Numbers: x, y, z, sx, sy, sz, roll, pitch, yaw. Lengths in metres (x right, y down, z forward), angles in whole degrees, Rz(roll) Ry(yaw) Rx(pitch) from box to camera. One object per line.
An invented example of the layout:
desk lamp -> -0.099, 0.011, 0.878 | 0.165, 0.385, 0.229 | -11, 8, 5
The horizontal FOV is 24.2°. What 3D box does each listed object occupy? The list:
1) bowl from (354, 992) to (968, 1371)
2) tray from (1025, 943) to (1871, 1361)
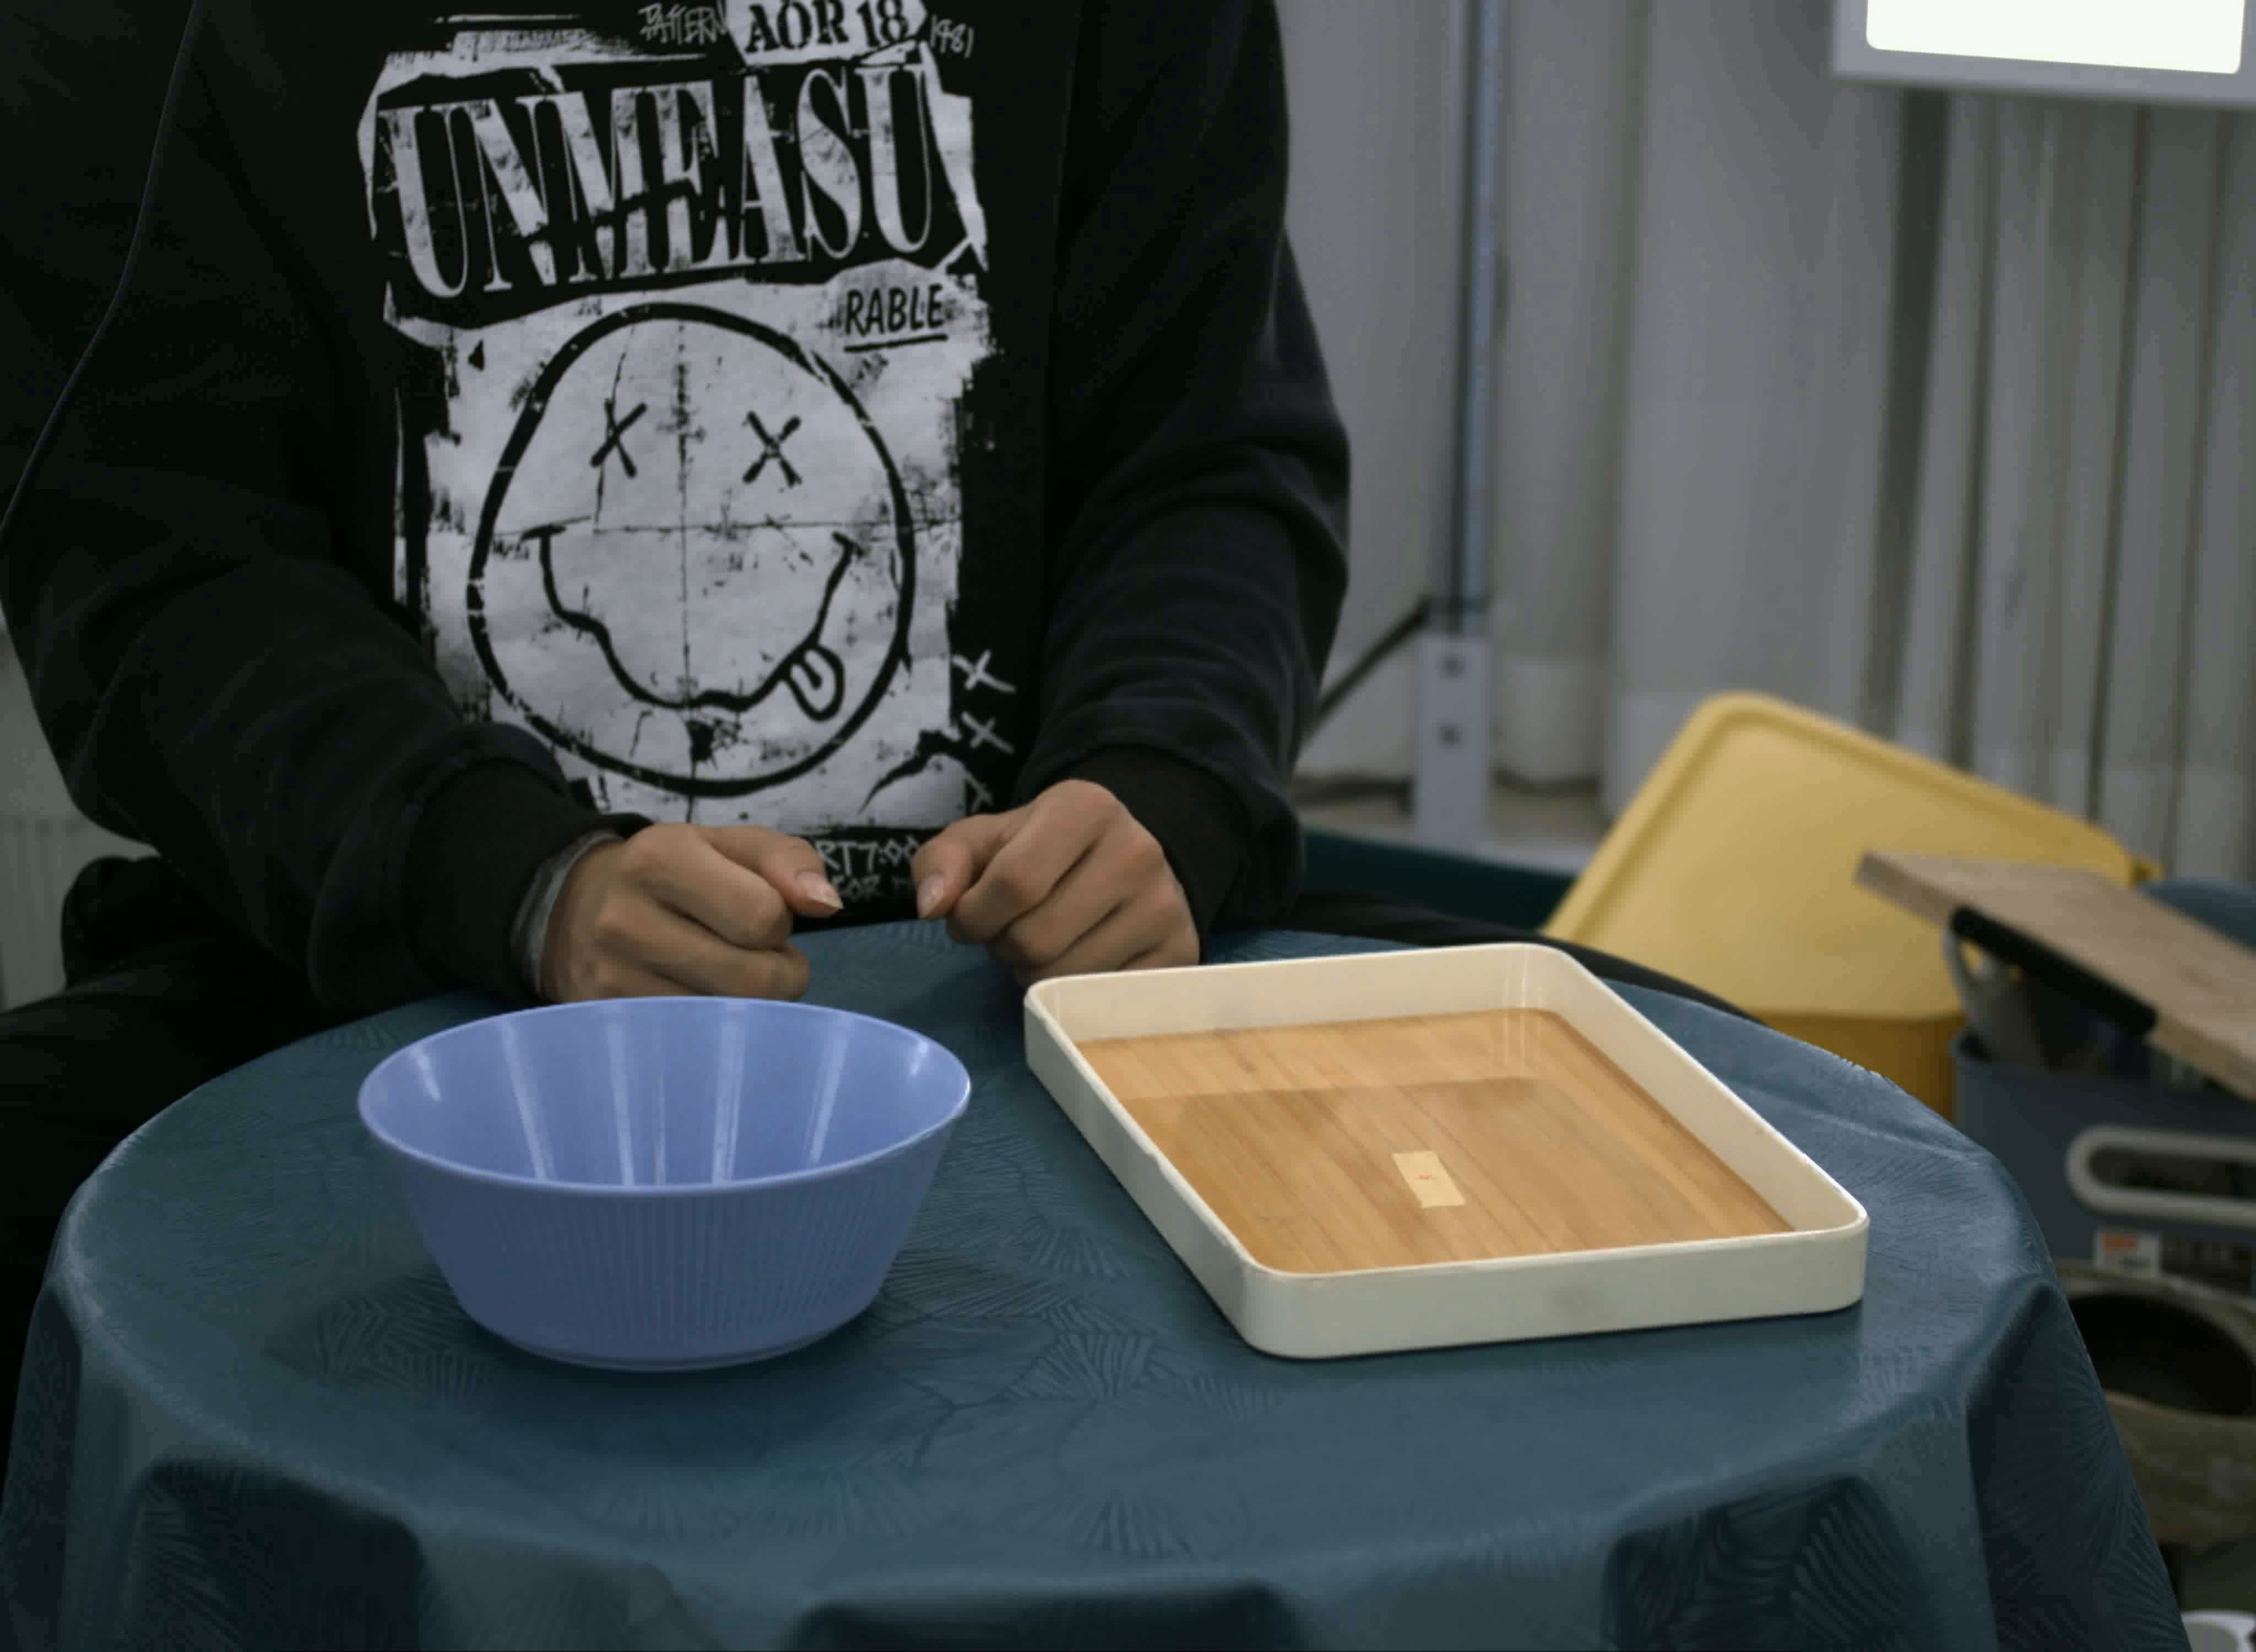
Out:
bowl -> -0.134, 0.105, 1.516 | 0.175, 0.071, 0.175 | 1, 17, 0
tray -> 0.091, 0.096, 1.640 | 0.192, 0.027, 0.297 | -3, 17, -15
